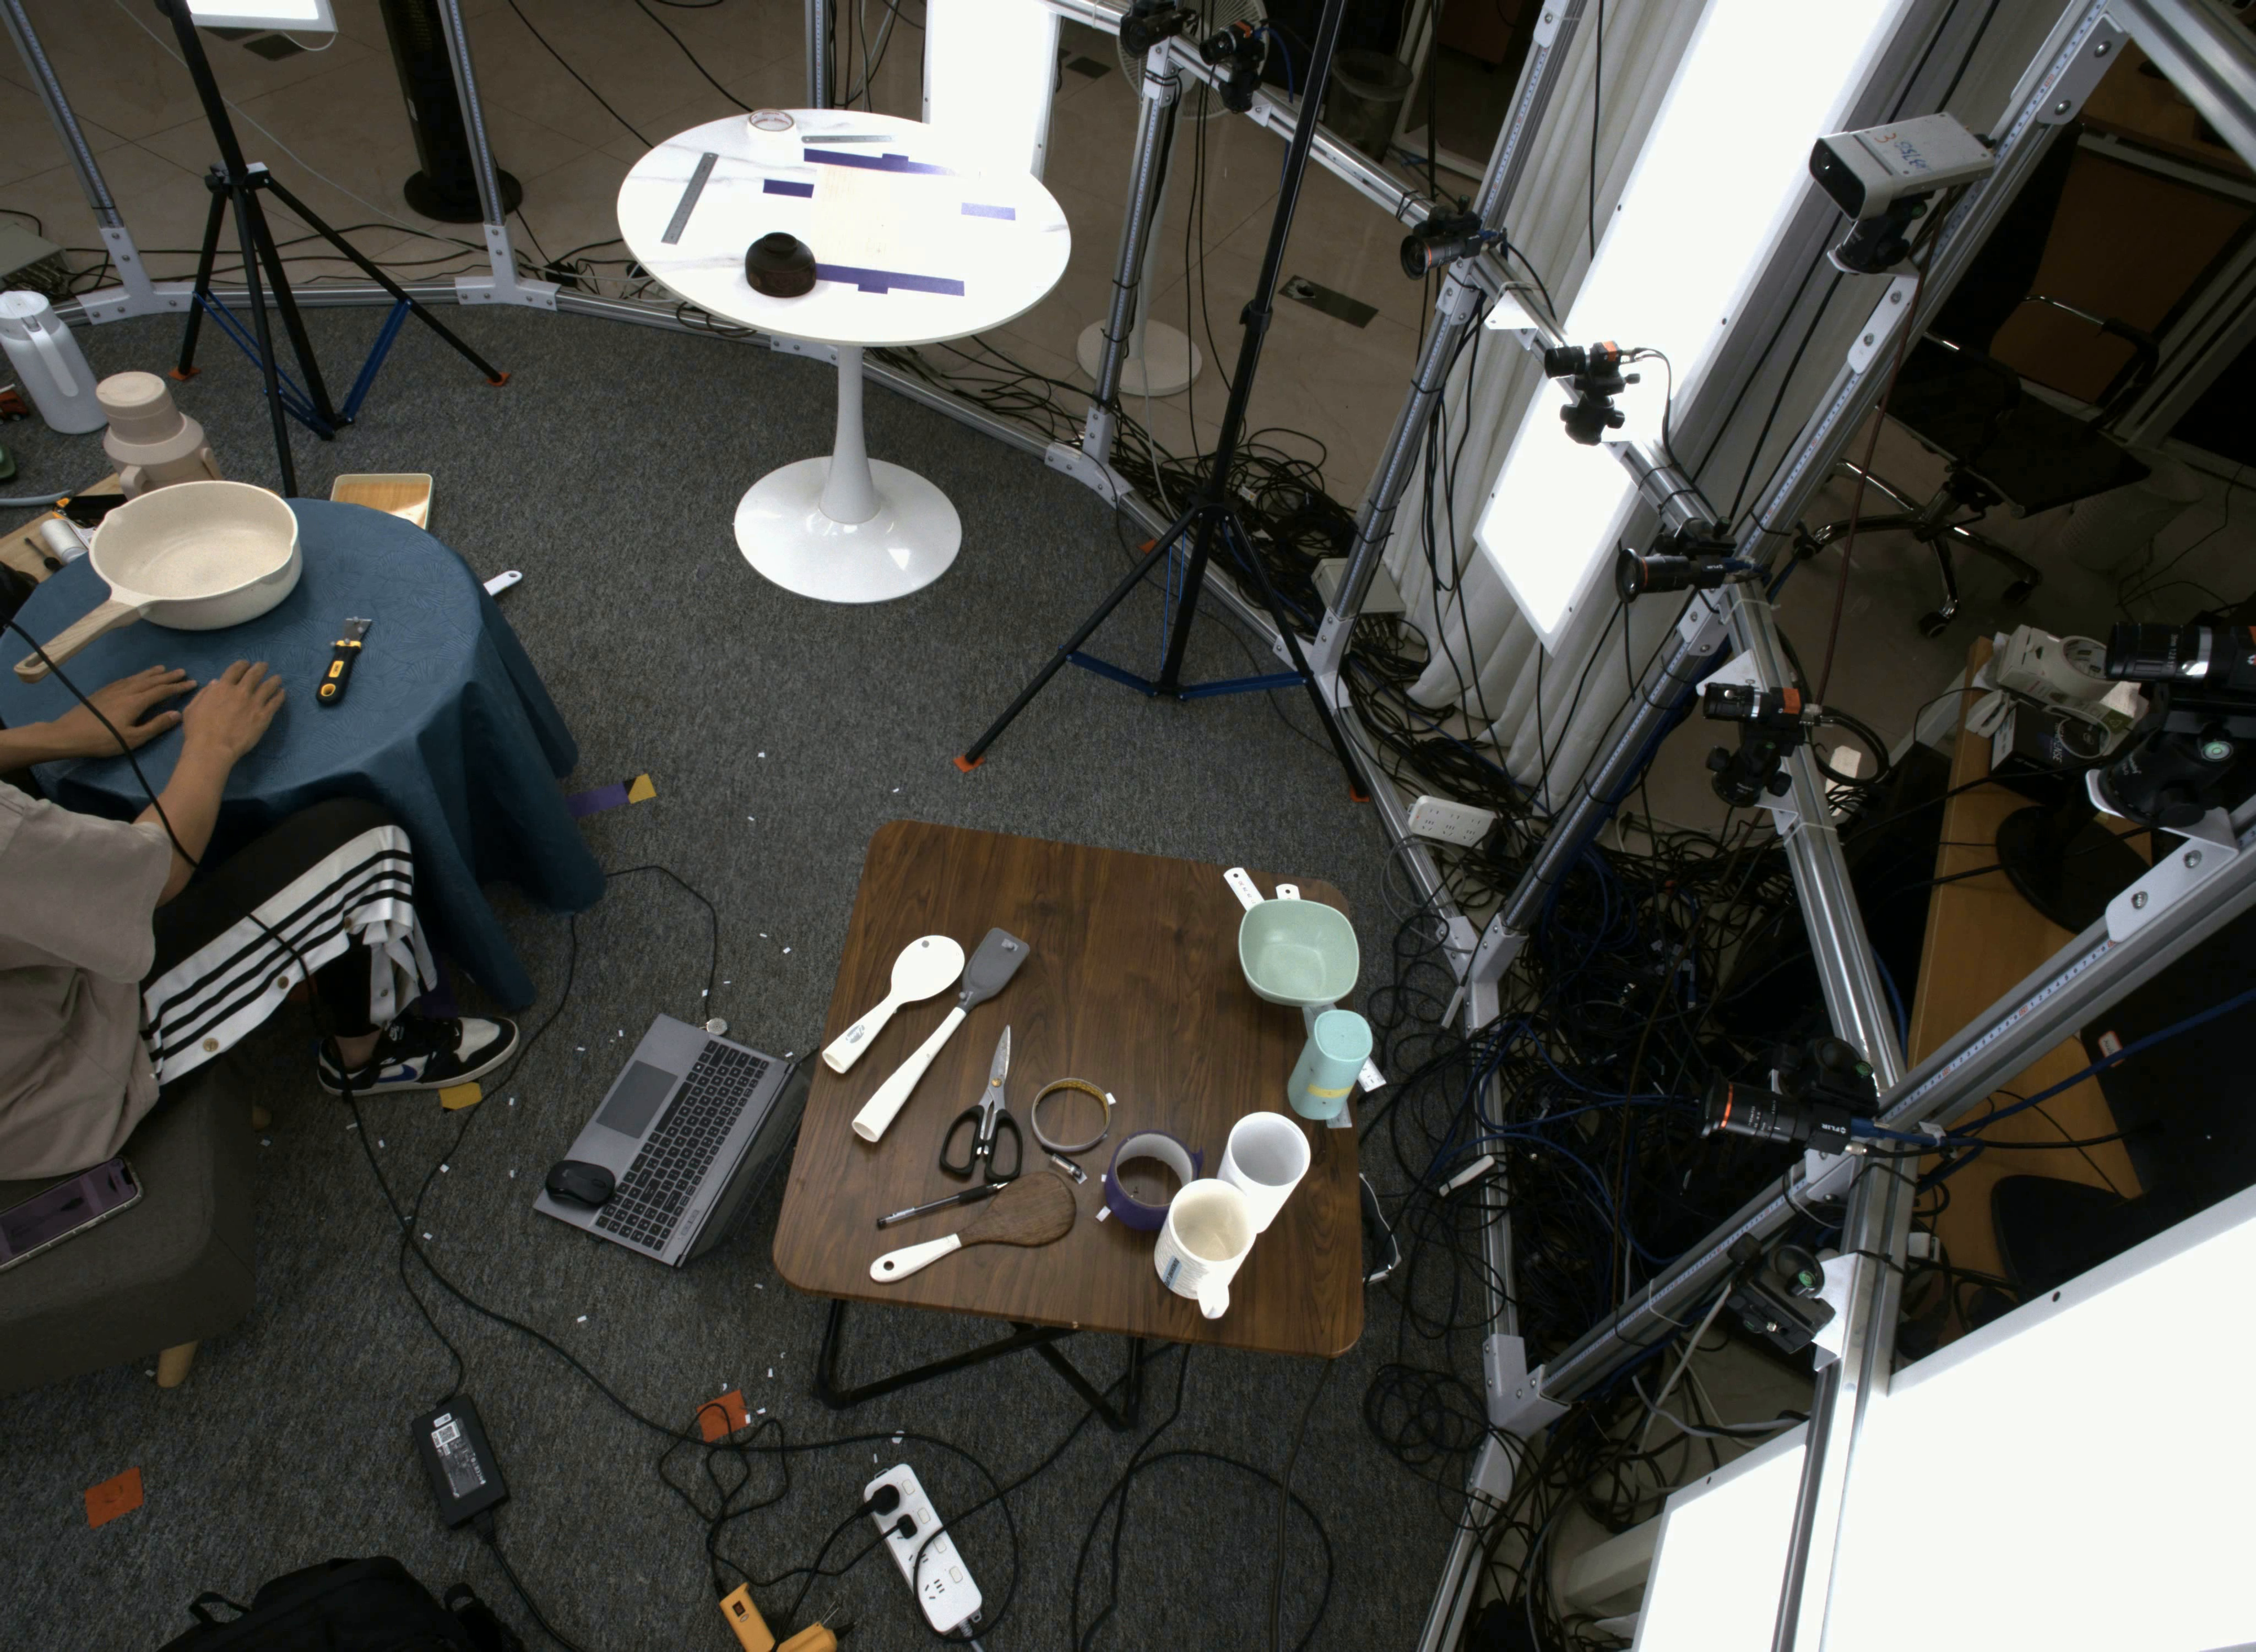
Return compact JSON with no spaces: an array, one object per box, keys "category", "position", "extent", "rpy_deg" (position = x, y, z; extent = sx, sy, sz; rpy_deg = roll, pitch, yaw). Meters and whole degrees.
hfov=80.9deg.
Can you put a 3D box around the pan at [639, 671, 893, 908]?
[{"category":"pan","position":[-0.485,-0.031,1.684],"extent":[0.260,0.104,0.433],"rpy_deg":[30,53,6]}]

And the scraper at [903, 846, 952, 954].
[{"category":"scraper","position":[-0.263,0.093,1.694],"extent":[0.039,0.015,0.168],"rpy_deg":[14,49,-7]}]
